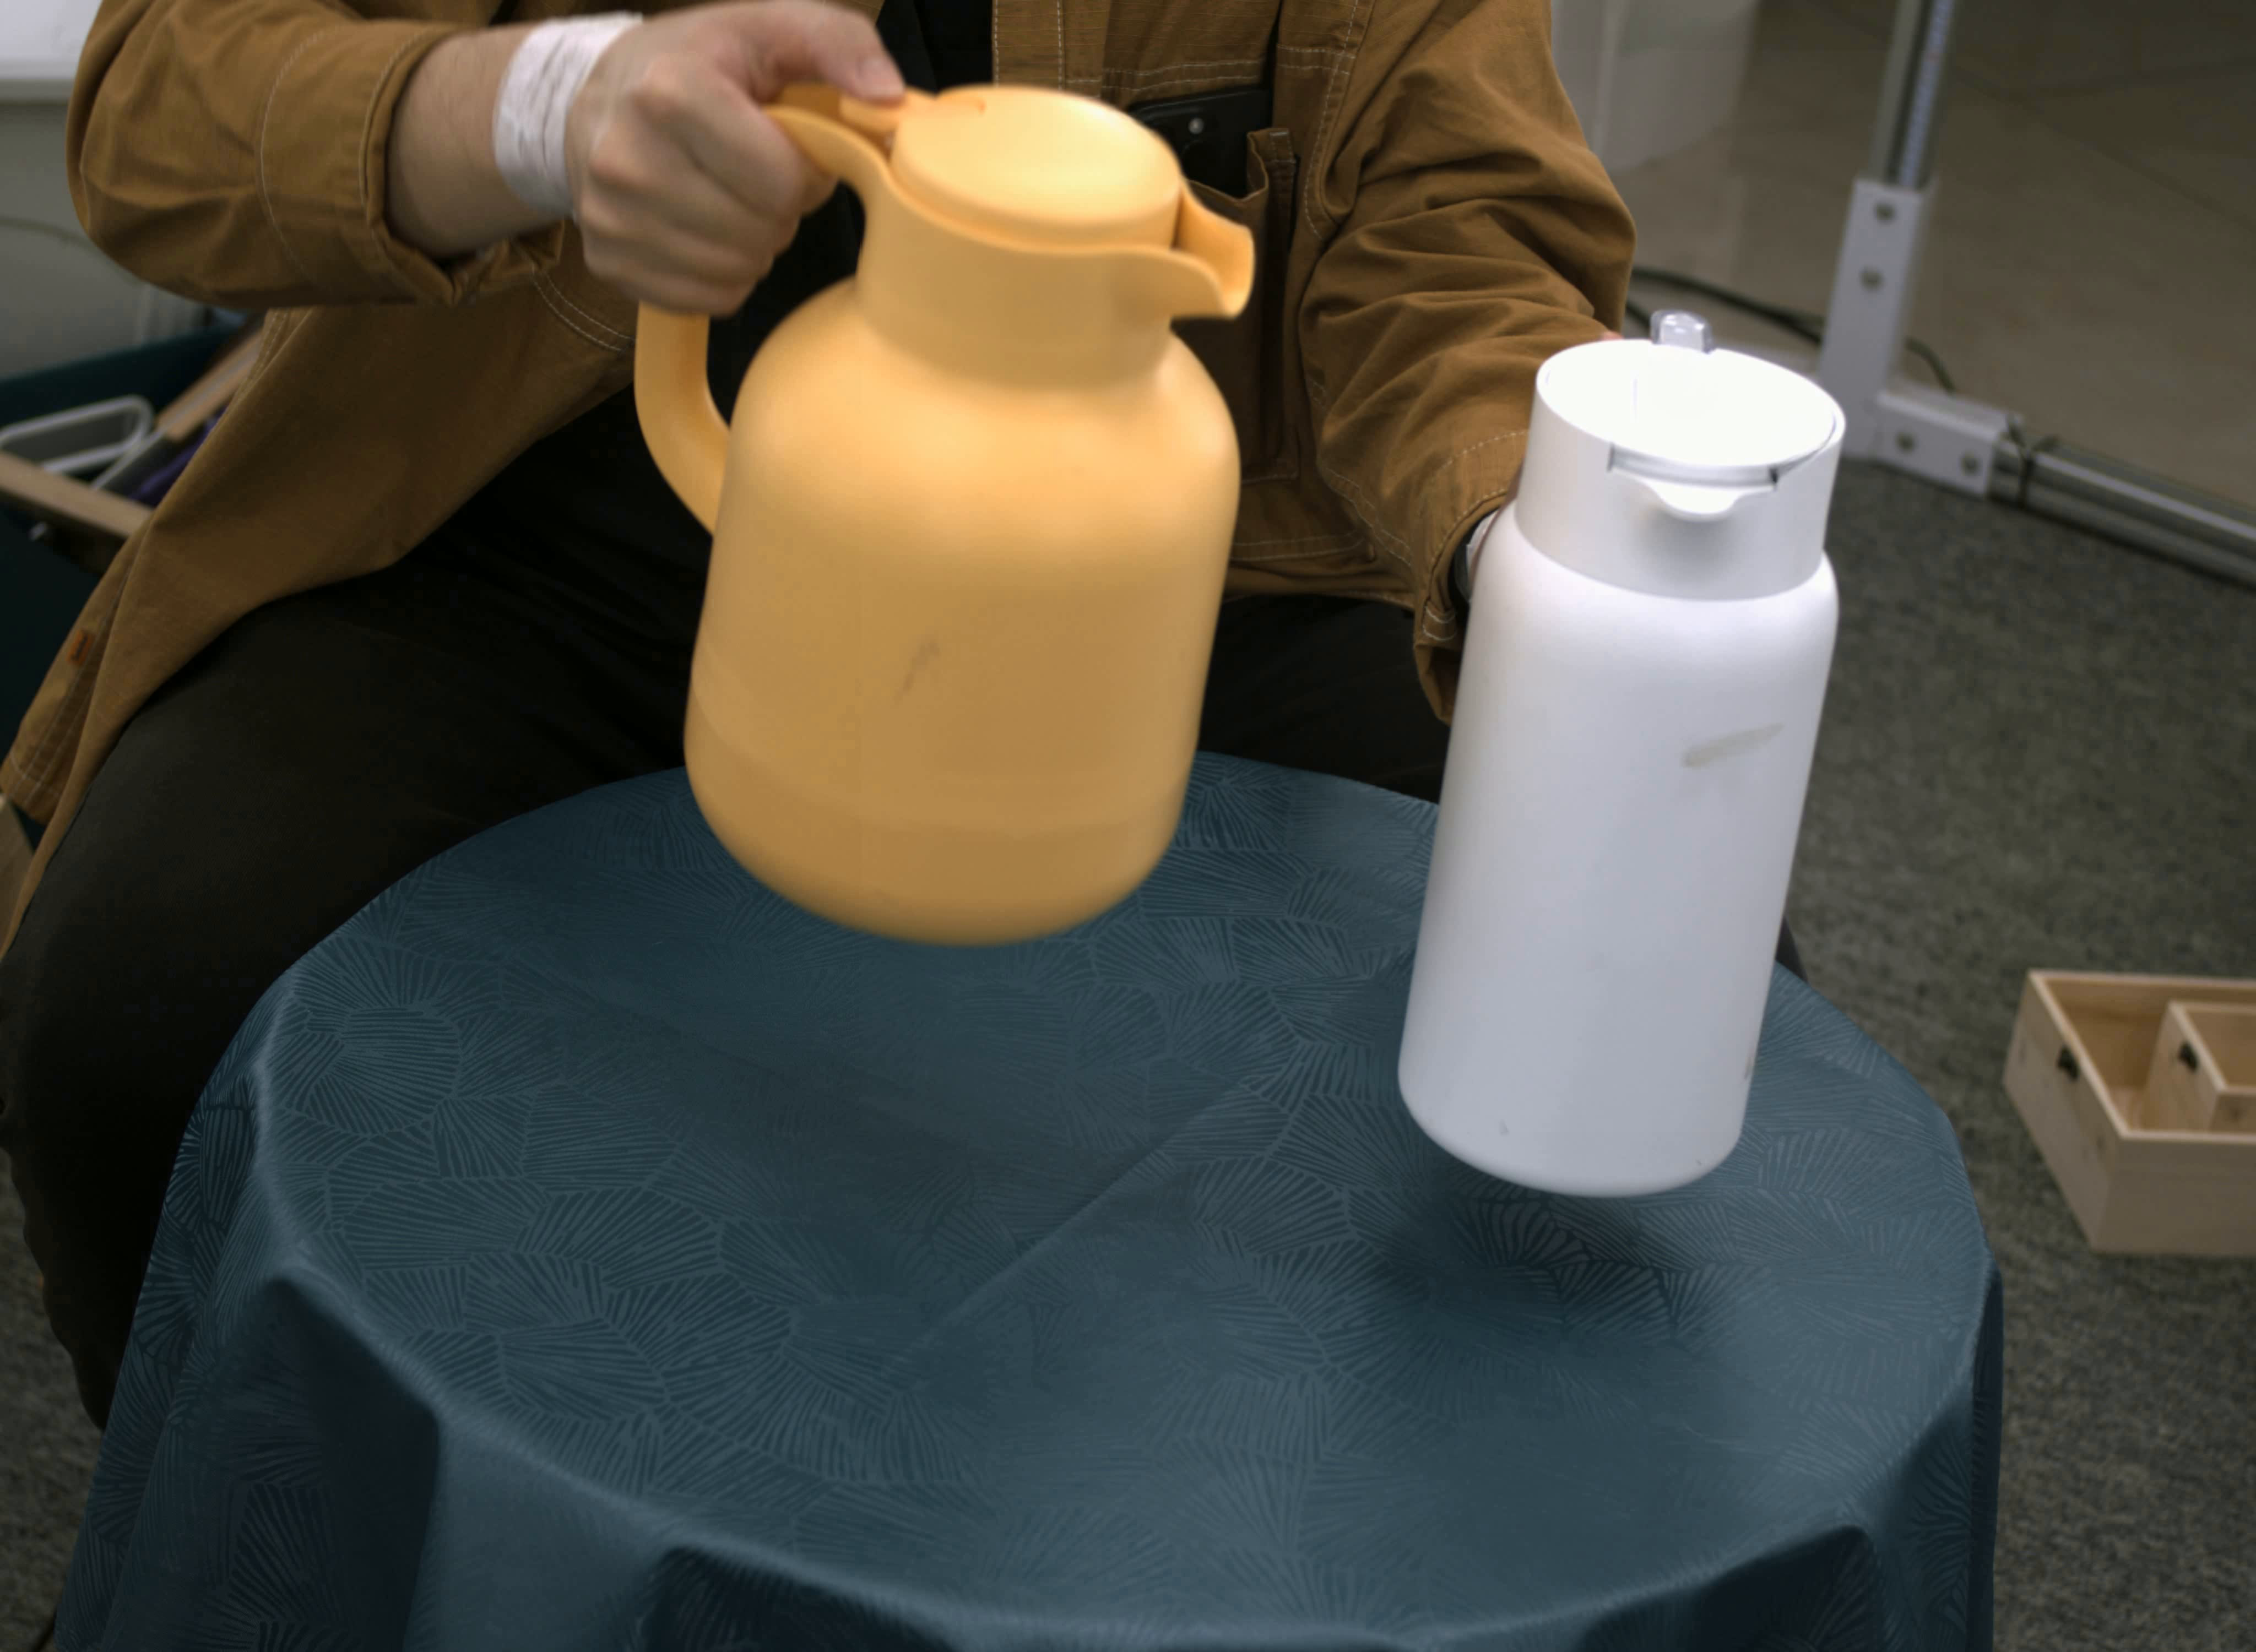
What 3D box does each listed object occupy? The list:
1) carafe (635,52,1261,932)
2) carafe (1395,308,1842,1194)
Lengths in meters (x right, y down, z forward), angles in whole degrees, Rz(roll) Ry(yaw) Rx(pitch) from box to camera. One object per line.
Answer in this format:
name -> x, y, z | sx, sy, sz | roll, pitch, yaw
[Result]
carafe -> -0.065, -0.114, 1.670 | 0.203, 0.259, 0.163 | 25, 31, 19
carafe -> 0.160, -0.028, 1.744 | 0.123, 0.268, 0.174 | 5, 26, 0
